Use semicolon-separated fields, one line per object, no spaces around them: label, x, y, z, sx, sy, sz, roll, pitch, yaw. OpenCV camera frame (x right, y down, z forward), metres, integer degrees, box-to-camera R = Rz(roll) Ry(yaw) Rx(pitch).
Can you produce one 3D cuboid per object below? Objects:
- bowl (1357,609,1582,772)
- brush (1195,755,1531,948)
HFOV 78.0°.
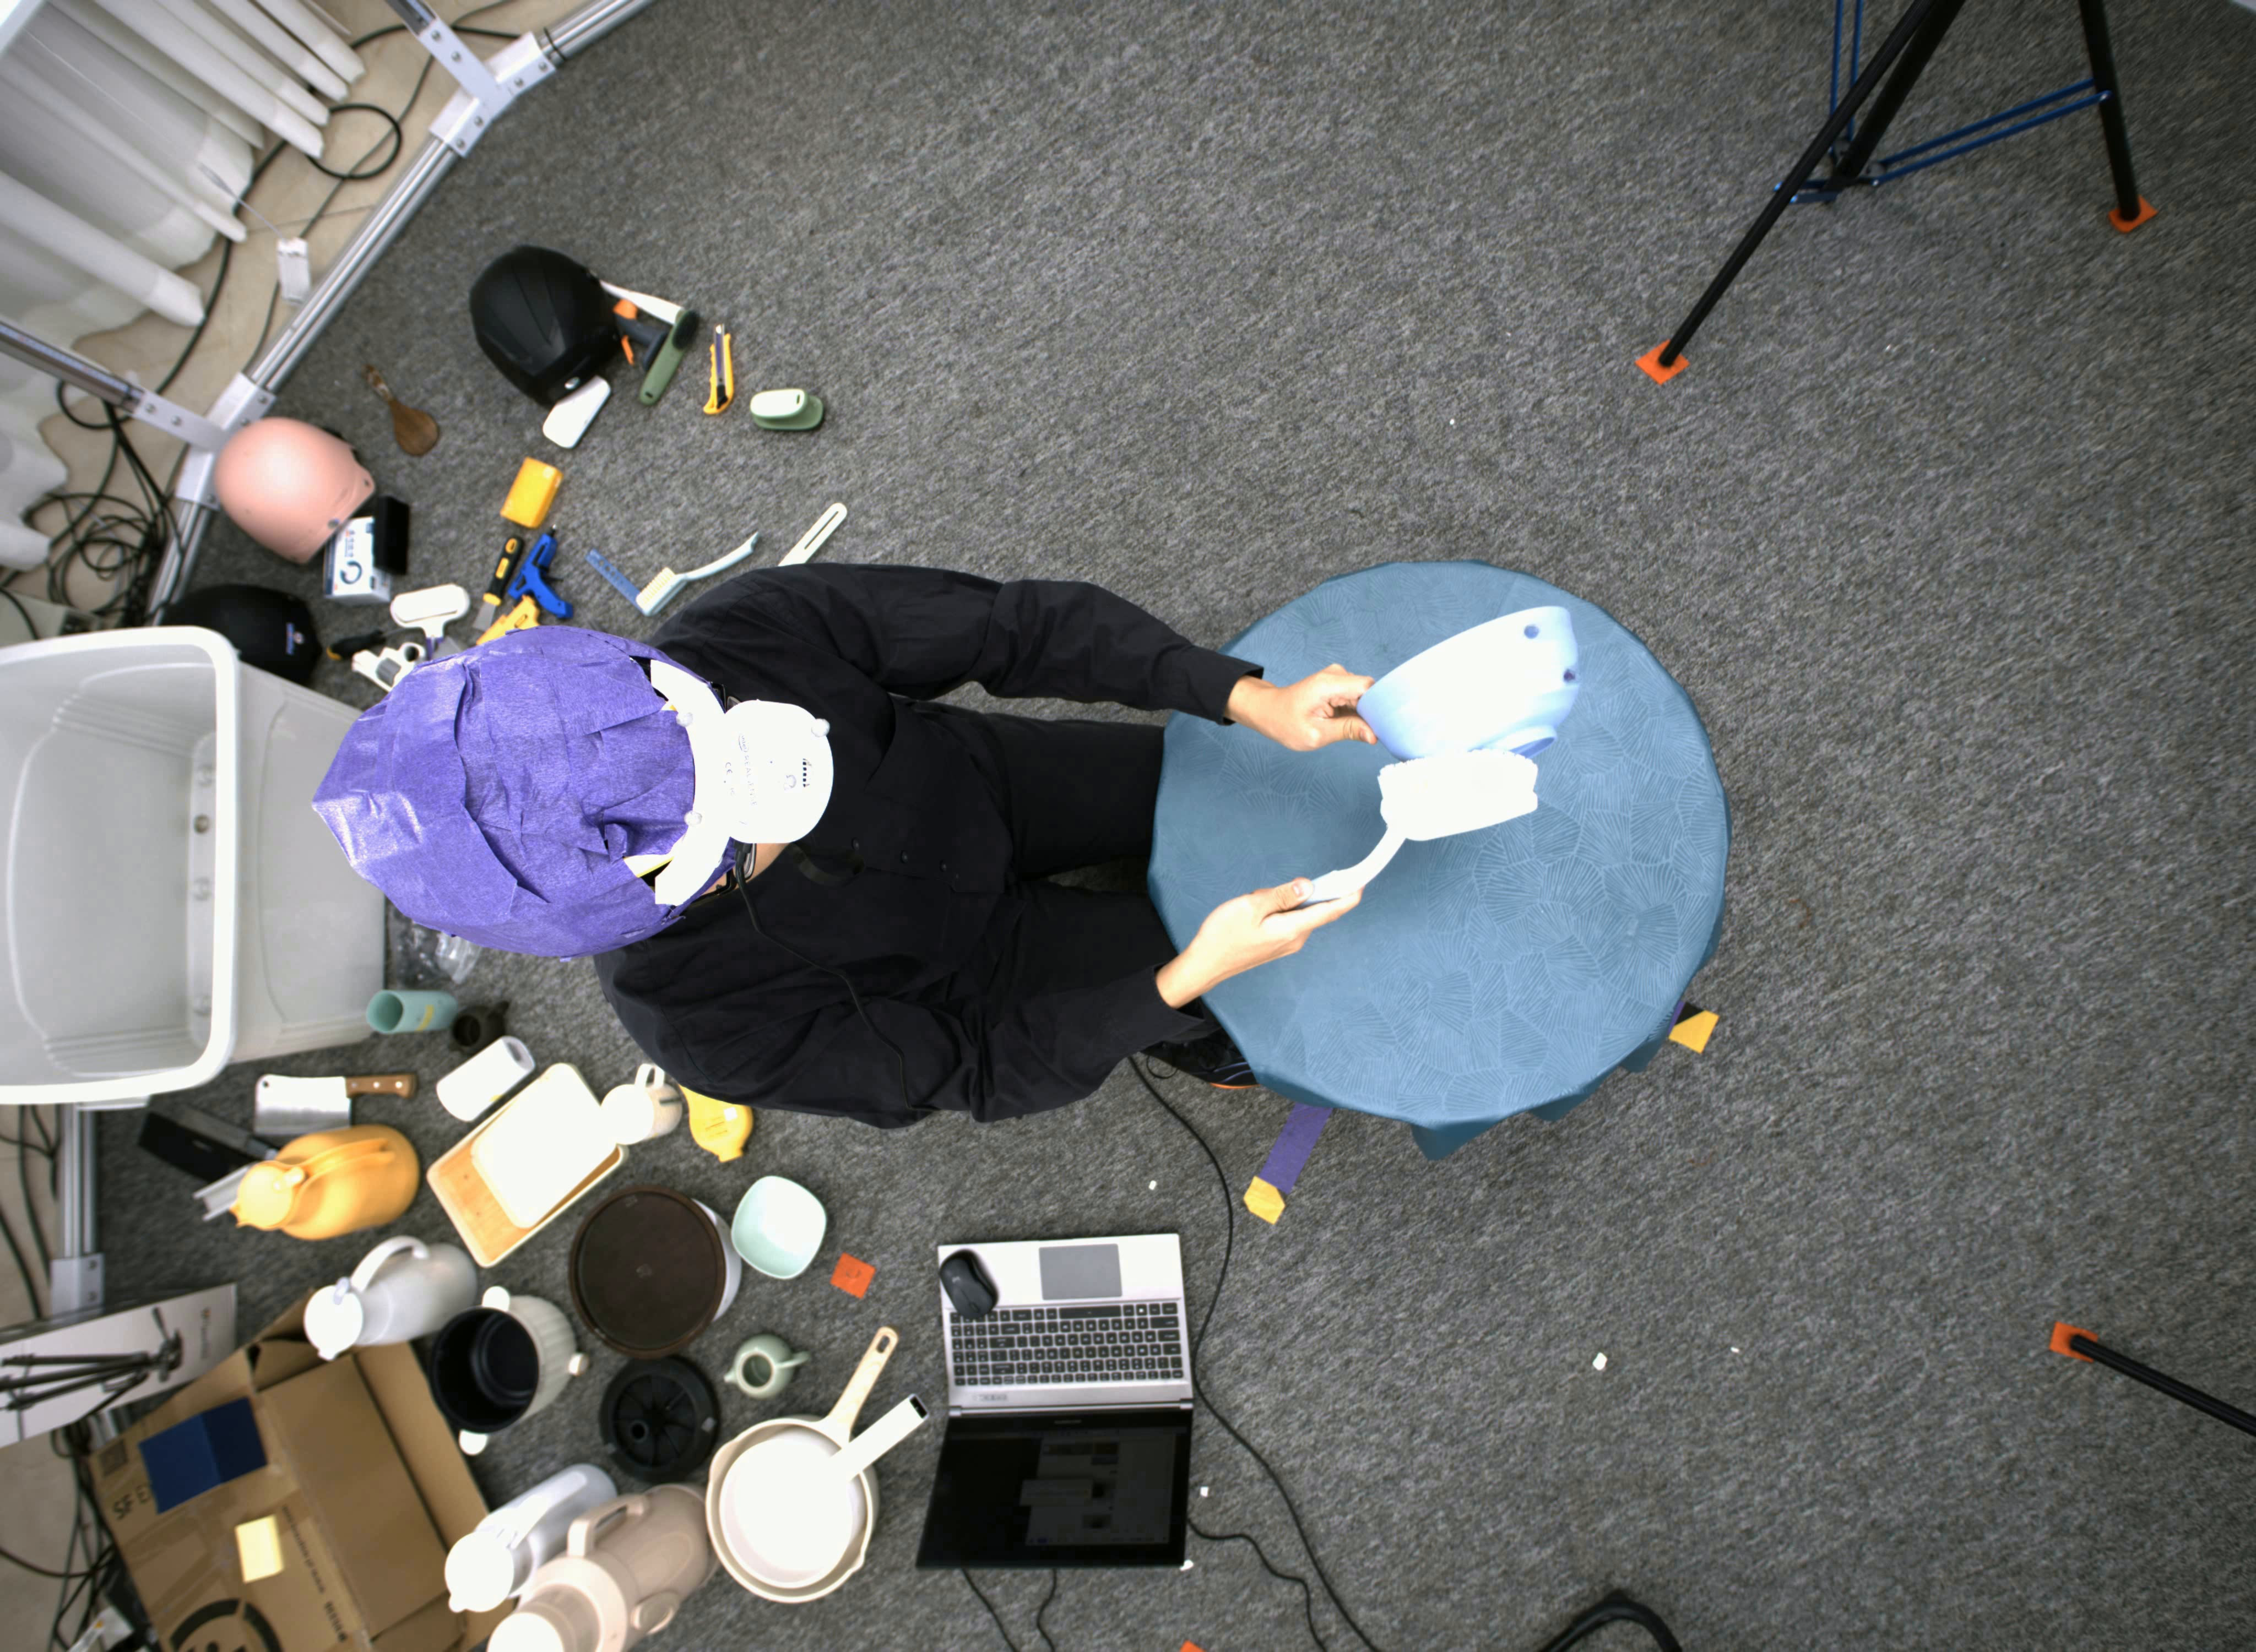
bowl;0.304;-0.097;1.165;0.197;0.197;0.094;-23;78;7
brush;0.190;0.008;1.187;0.330;0.082;0.084;-25;106;28
